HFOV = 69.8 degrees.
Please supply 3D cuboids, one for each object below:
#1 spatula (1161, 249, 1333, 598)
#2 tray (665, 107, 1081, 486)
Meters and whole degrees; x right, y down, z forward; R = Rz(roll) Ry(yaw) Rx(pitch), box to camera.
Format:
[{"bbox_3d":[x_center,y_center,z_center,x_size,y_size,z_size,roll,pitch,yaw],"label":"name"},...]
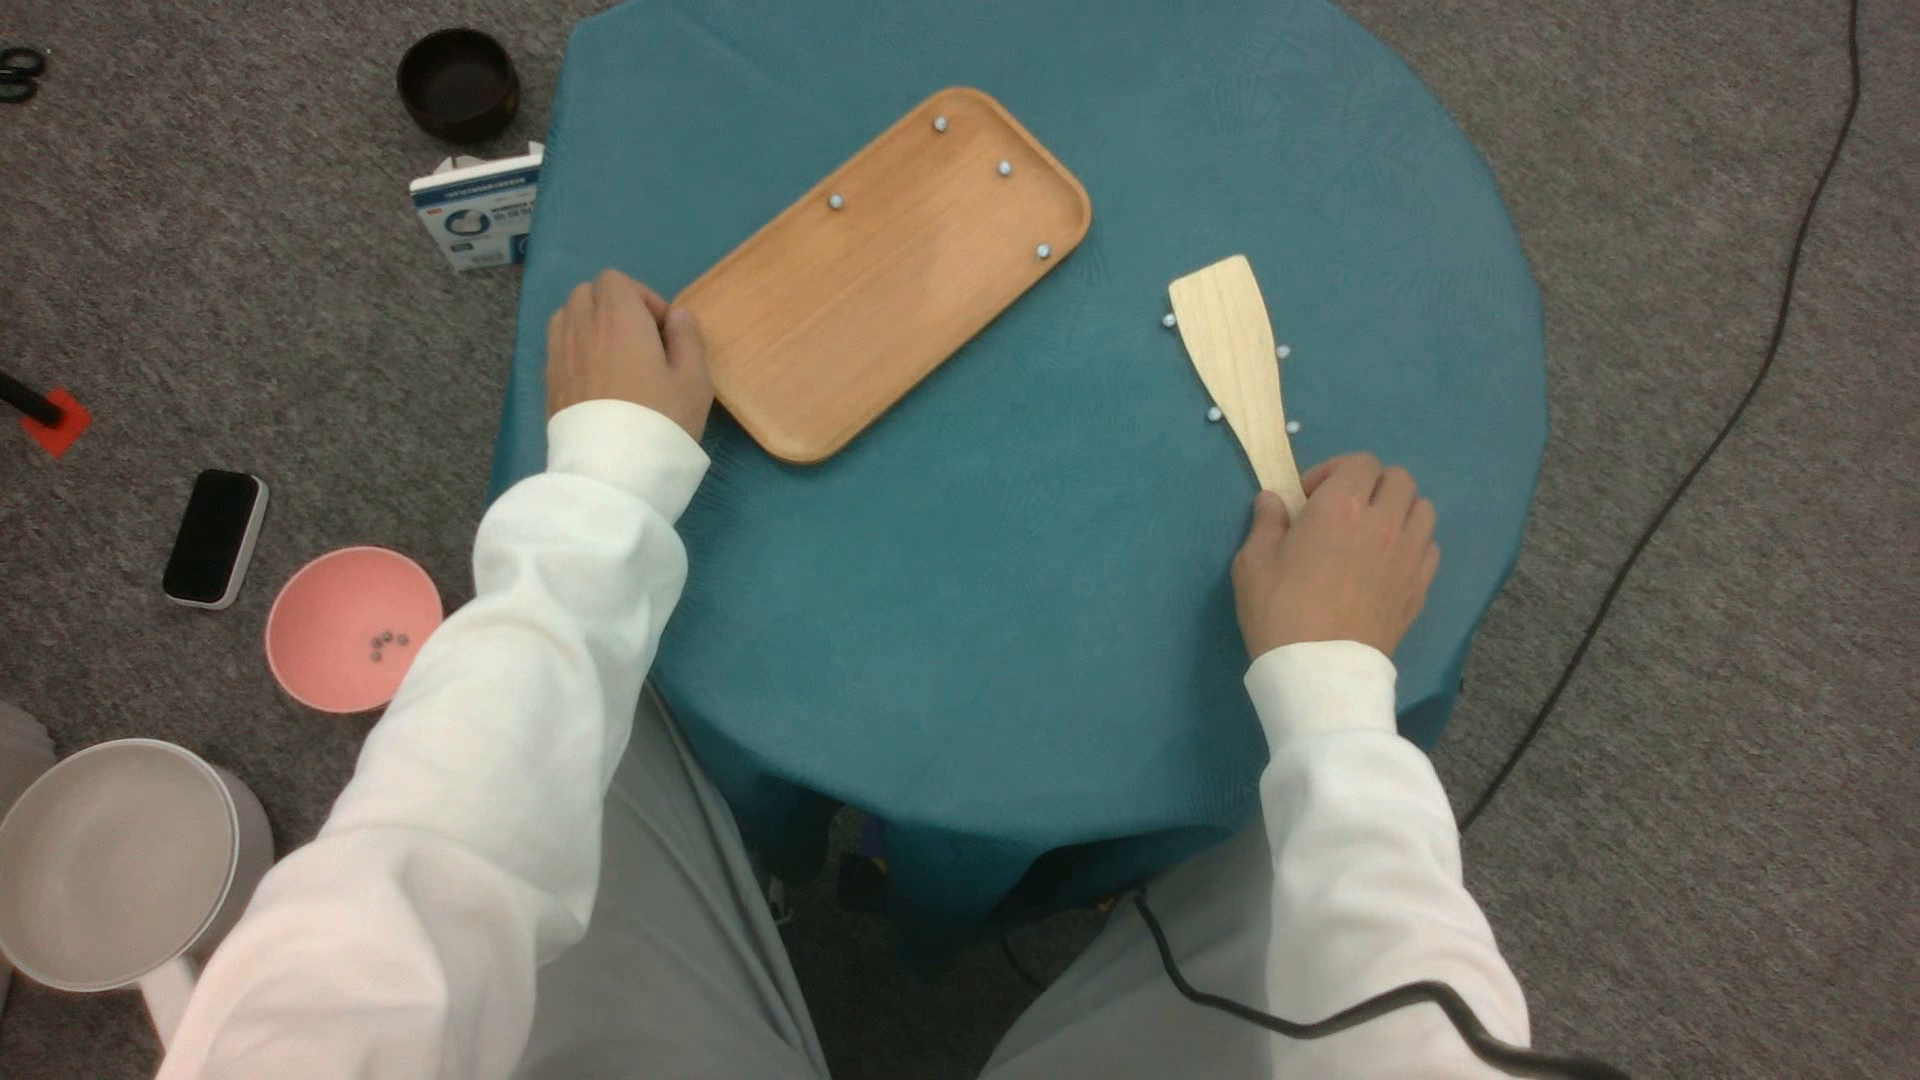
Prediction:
[{"bbox_3d":[0.168,-0.066,0.787,0.050,0.005,0.208,-25,75,27],"label":"spatula"},{"bbox_3d":[-0.047,-0.146,0.808,0.130,0.023,0.251,43,74,9],"label":"tray"}]
